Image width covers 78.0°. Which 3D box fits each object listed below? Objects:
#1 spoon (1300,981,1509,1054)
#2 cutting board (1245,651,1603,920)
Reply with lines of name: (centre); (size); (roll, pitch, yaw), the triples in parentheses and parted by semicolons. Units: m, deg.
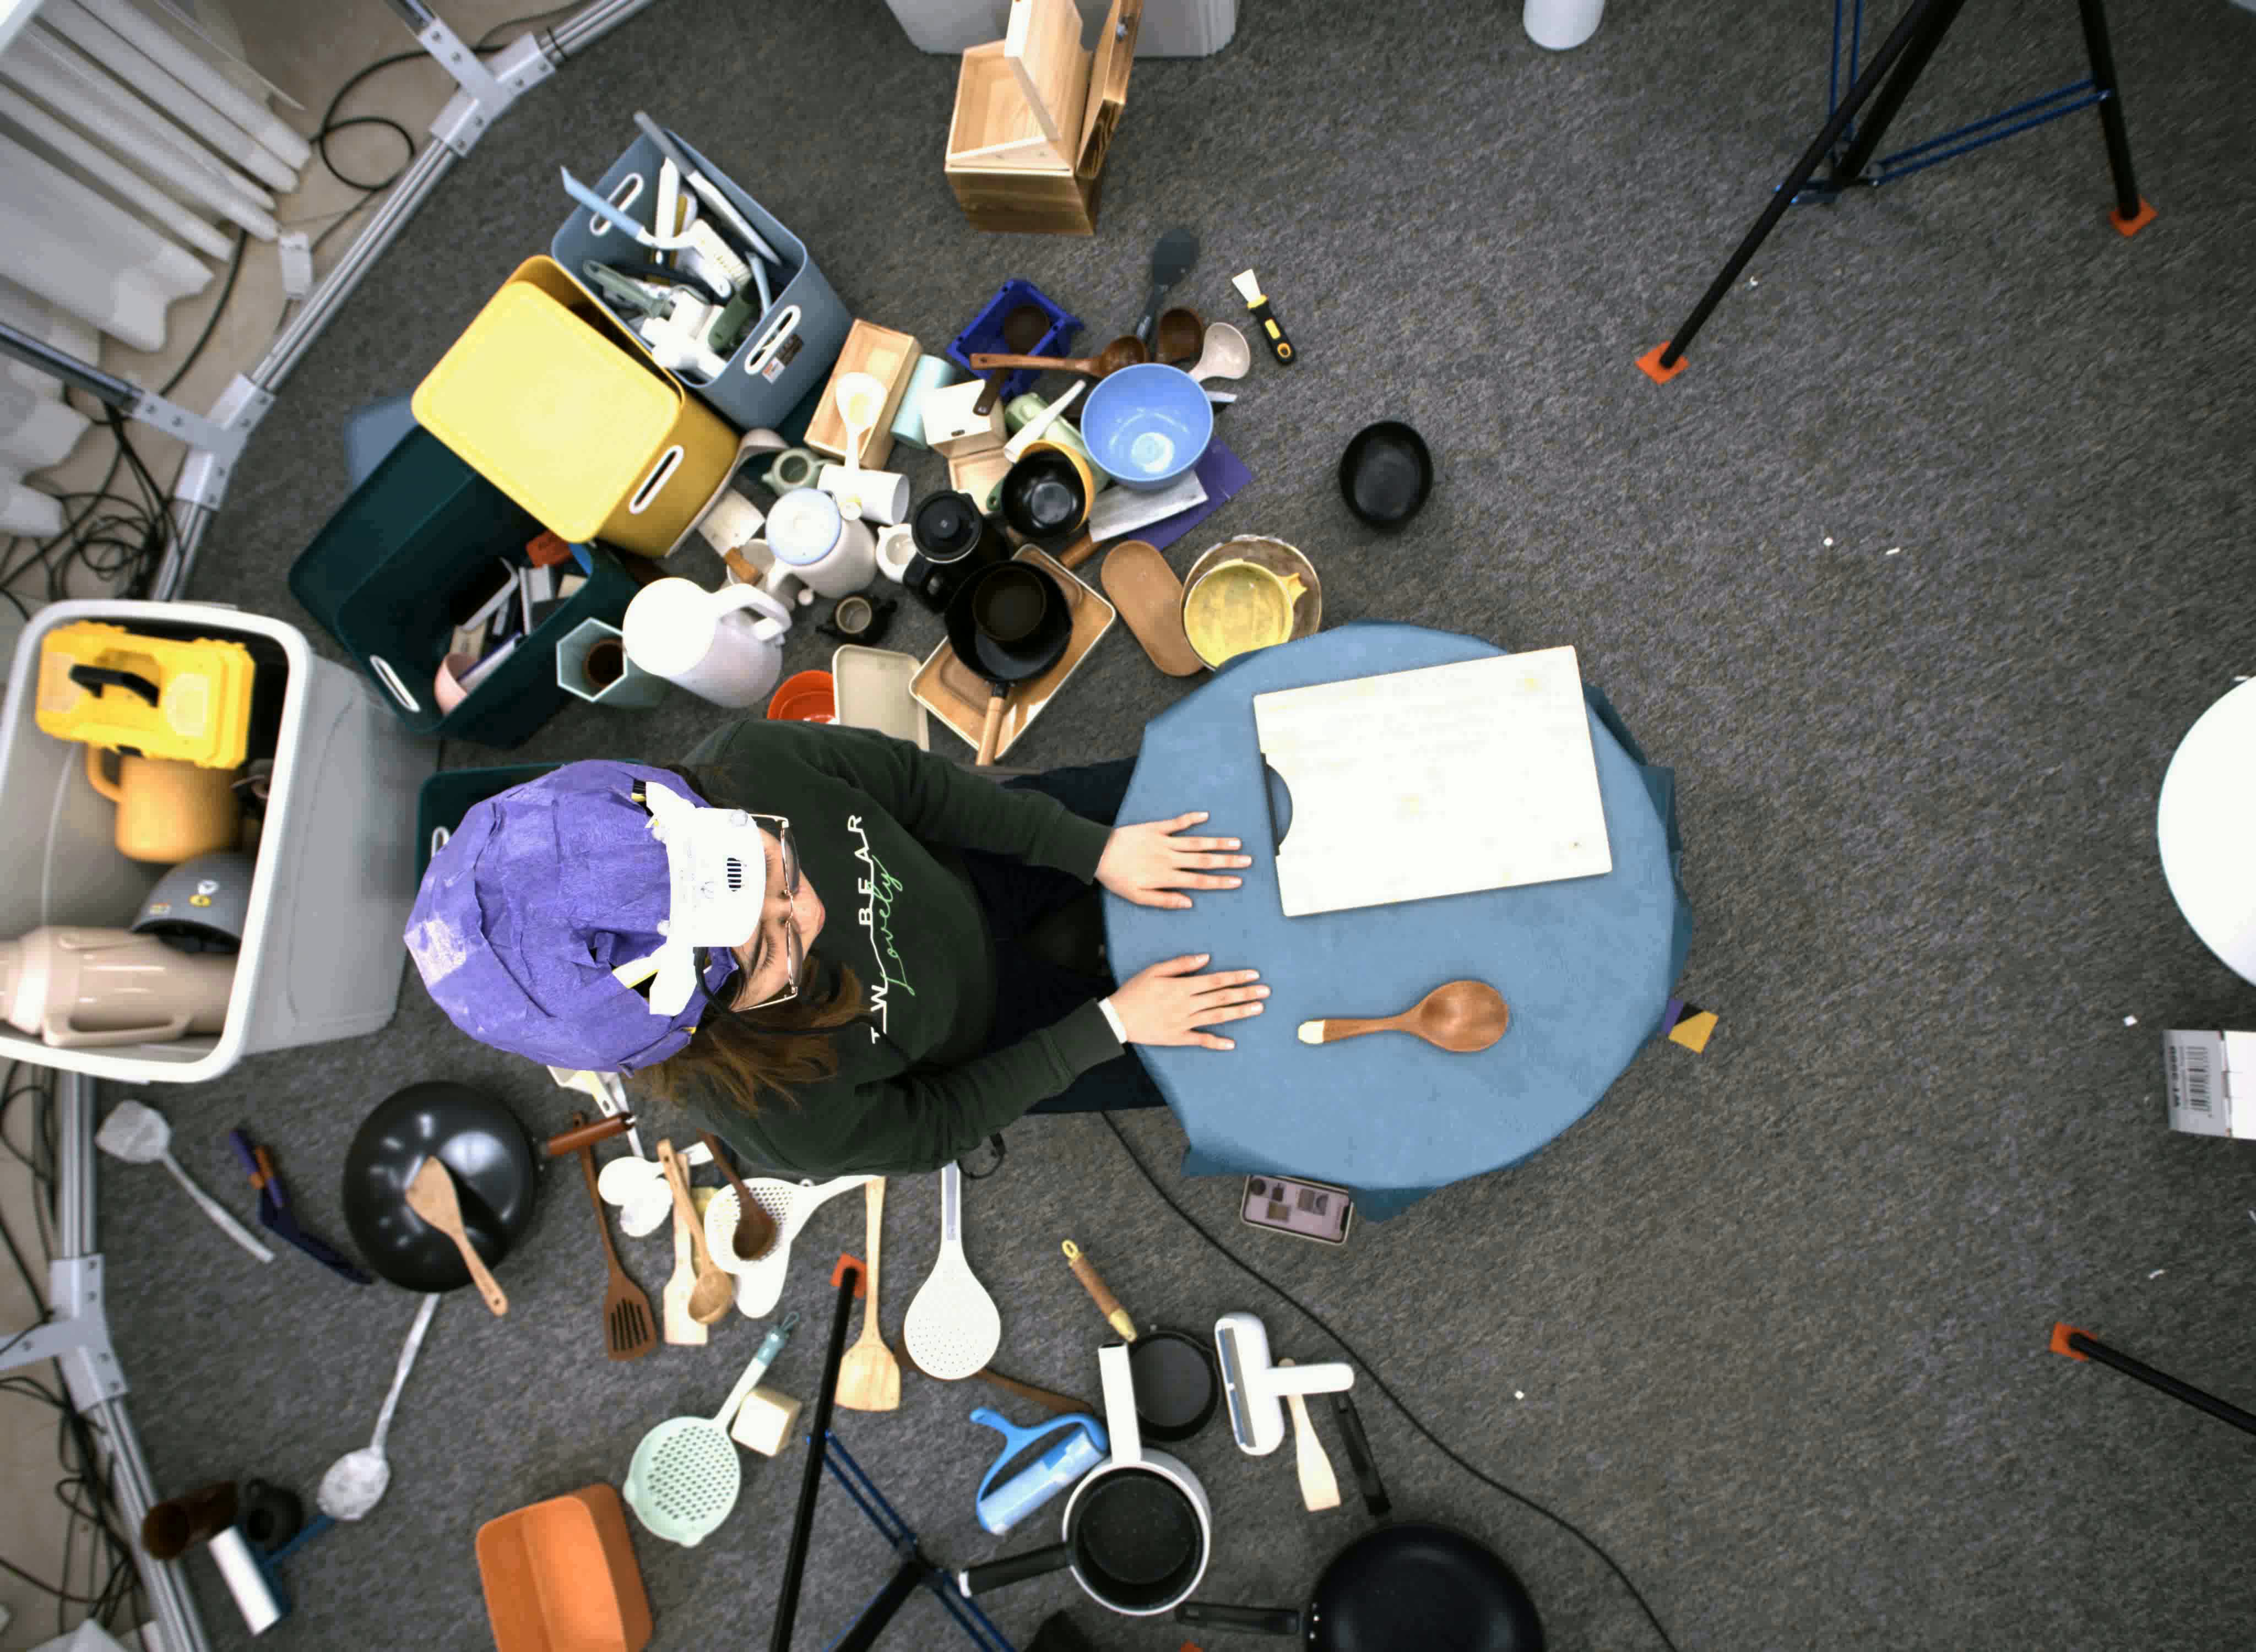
spoon: (0.288, 0.205, 1.443); (0.217, 0.017, 0.075); (-8, 86, 9)
cutting board: (0.313, -0.044, 1.457); (0.350, 0.023, 0.249); (-9, 84, 10)
